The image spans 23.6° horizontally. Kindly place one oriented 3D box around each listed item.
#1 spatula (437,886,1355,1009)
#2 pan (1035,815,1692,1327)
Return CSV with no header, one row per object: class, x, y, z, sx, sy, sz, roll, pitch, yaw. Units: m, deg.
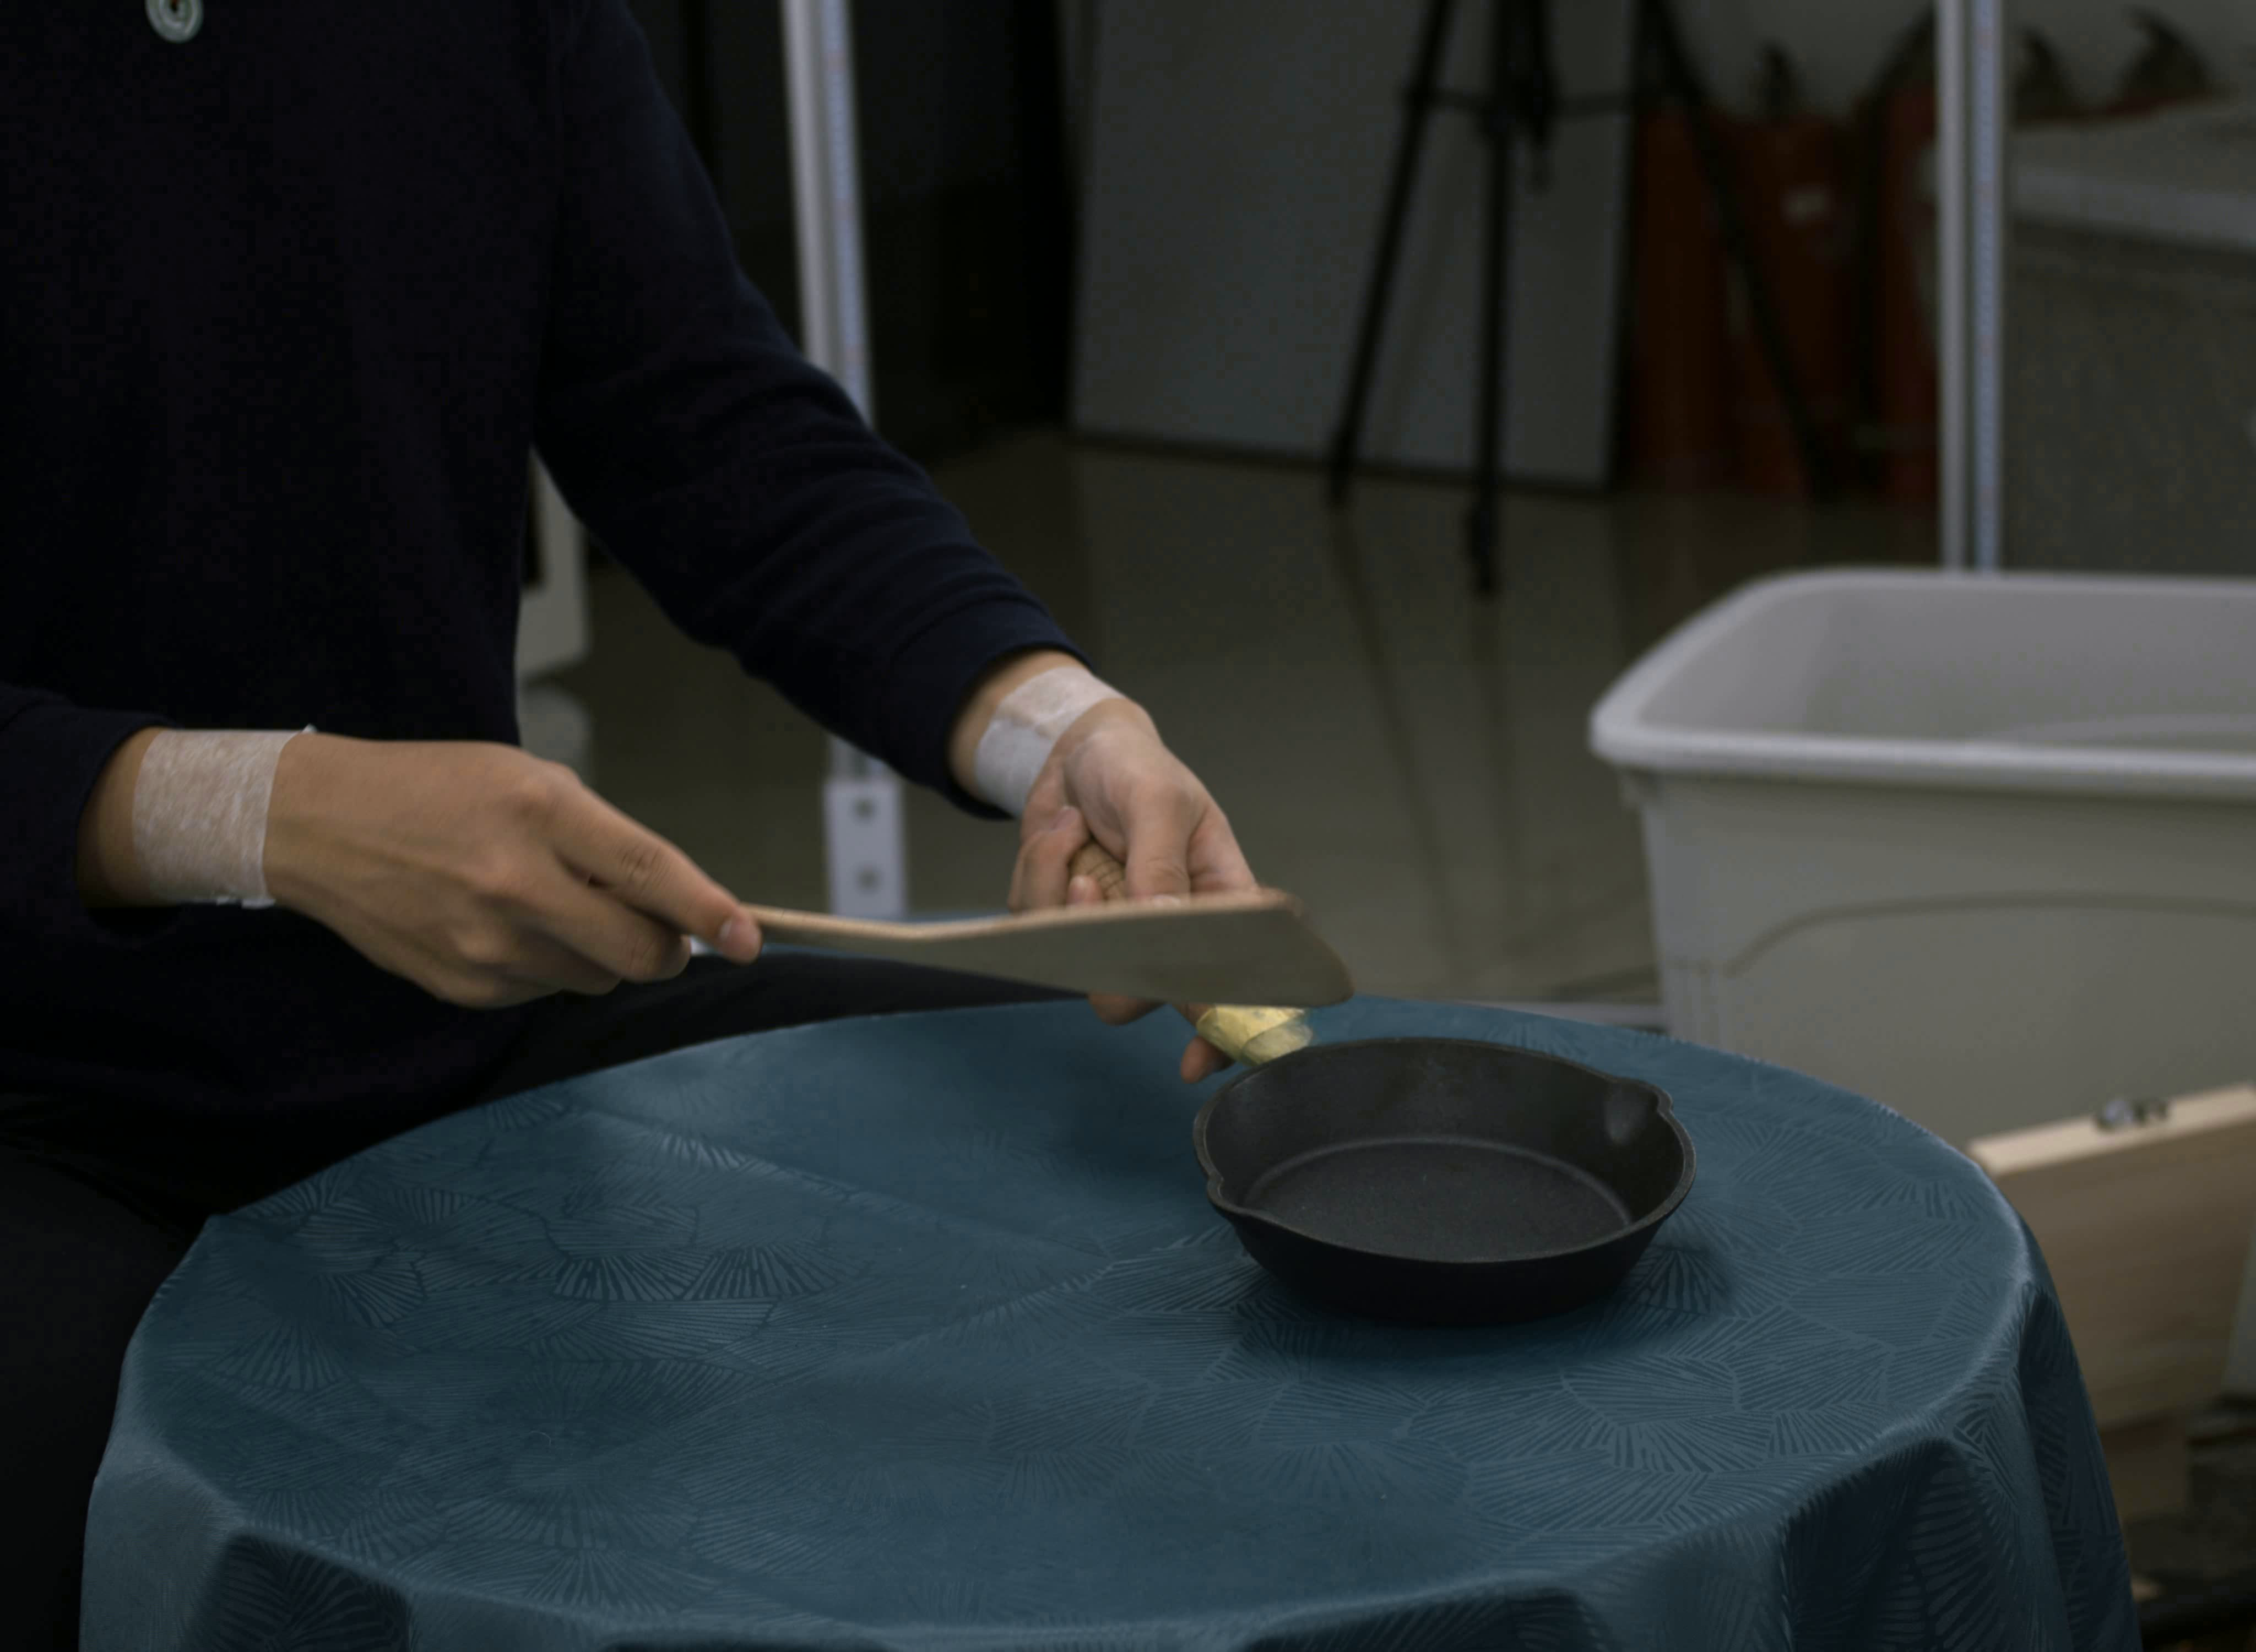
spatula,-0.077,0.031,1.612,0.329,0.016,0.079,4,-21,34
pan,0.056,0.075,1.736,0.165,0.050,0.328,-11,26,-27
